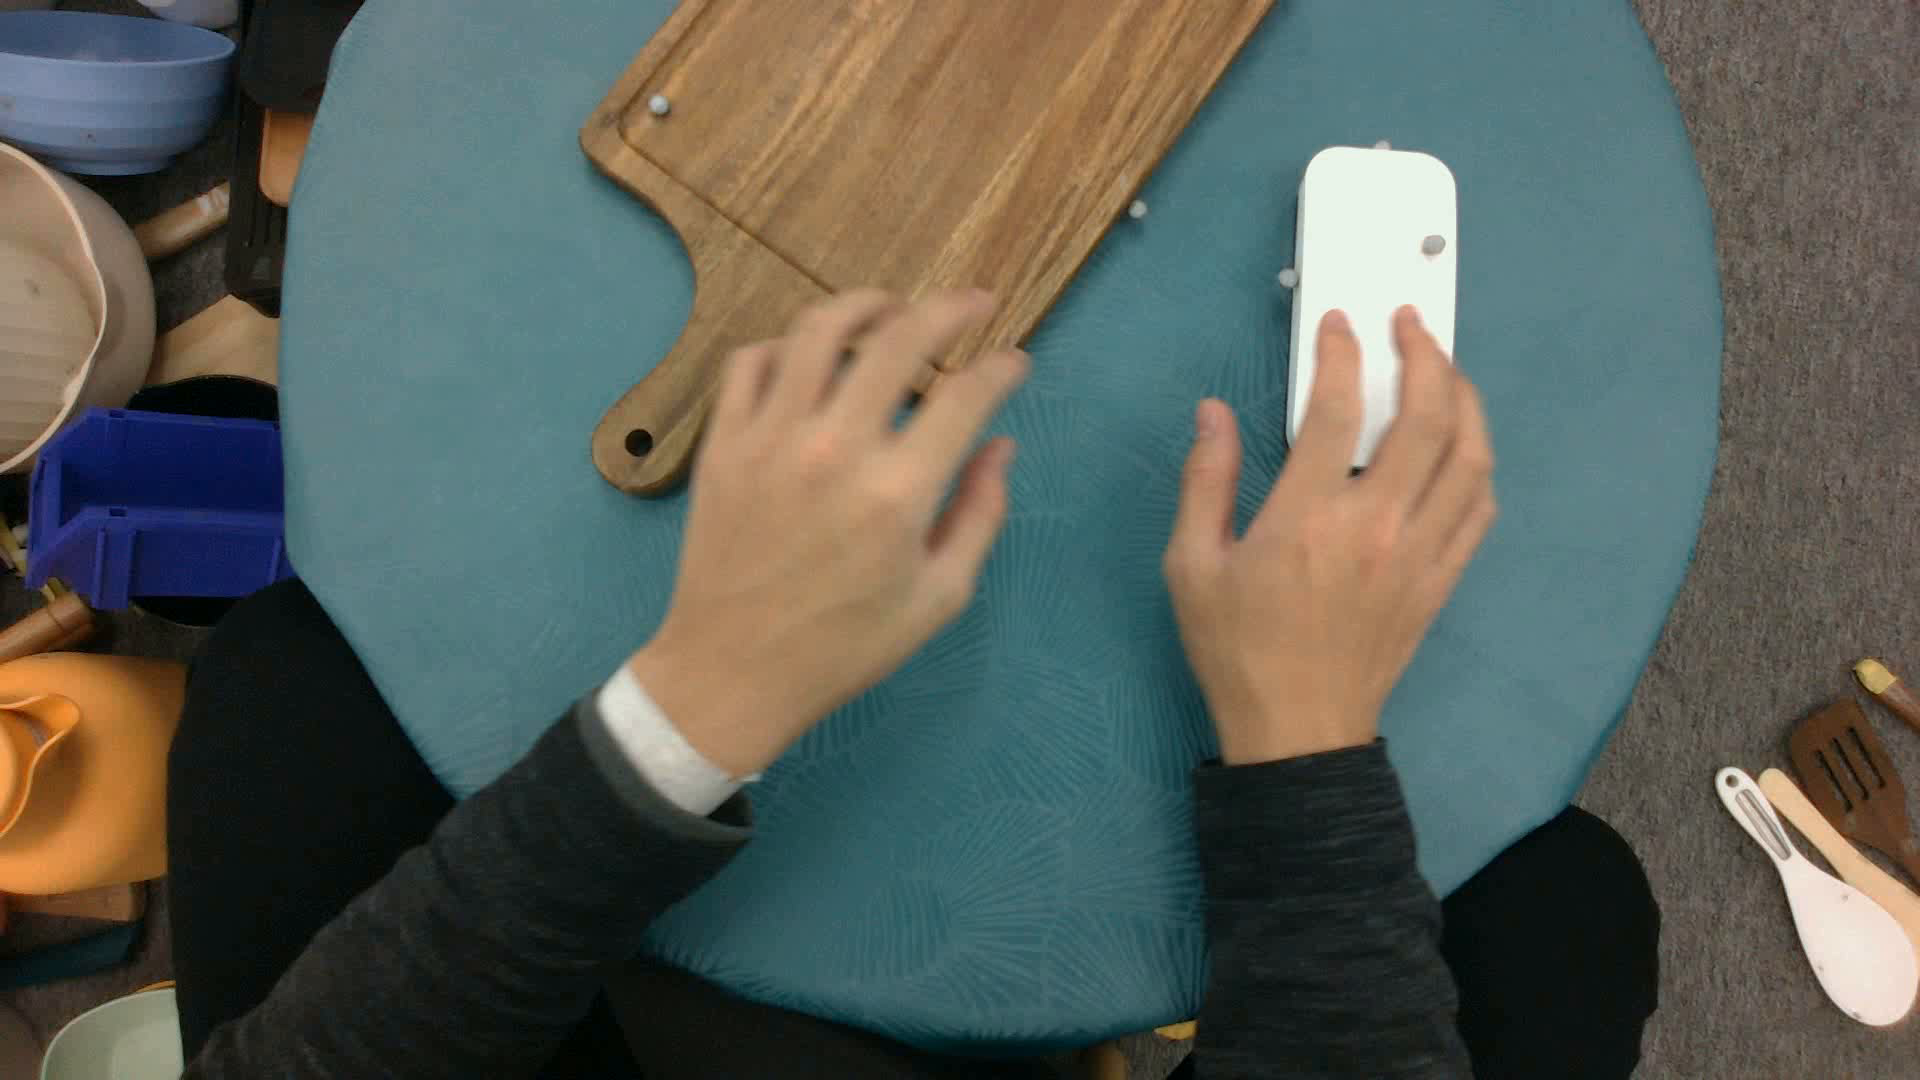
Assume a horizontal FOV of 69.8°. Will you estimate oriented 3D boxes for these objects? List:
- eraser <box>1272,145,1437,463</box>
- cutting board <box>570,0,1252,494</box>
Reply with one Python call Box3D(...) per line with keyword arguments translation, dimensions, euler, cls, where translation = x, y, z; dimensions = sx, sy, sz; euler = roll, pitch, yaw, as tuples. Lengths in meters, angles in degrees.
Box3D(translation=(0.160, -0.097, 0.565), dimensions=(0.063, 0.034, 0.131), euler=(5, 81, -3), cls="eraser")
Box3D(translation=(-0.039, -0.167, 0.570), dimensions=(0.201, 0.023, 0.352), euler=(35, 82, 2), cls="cutting board")
